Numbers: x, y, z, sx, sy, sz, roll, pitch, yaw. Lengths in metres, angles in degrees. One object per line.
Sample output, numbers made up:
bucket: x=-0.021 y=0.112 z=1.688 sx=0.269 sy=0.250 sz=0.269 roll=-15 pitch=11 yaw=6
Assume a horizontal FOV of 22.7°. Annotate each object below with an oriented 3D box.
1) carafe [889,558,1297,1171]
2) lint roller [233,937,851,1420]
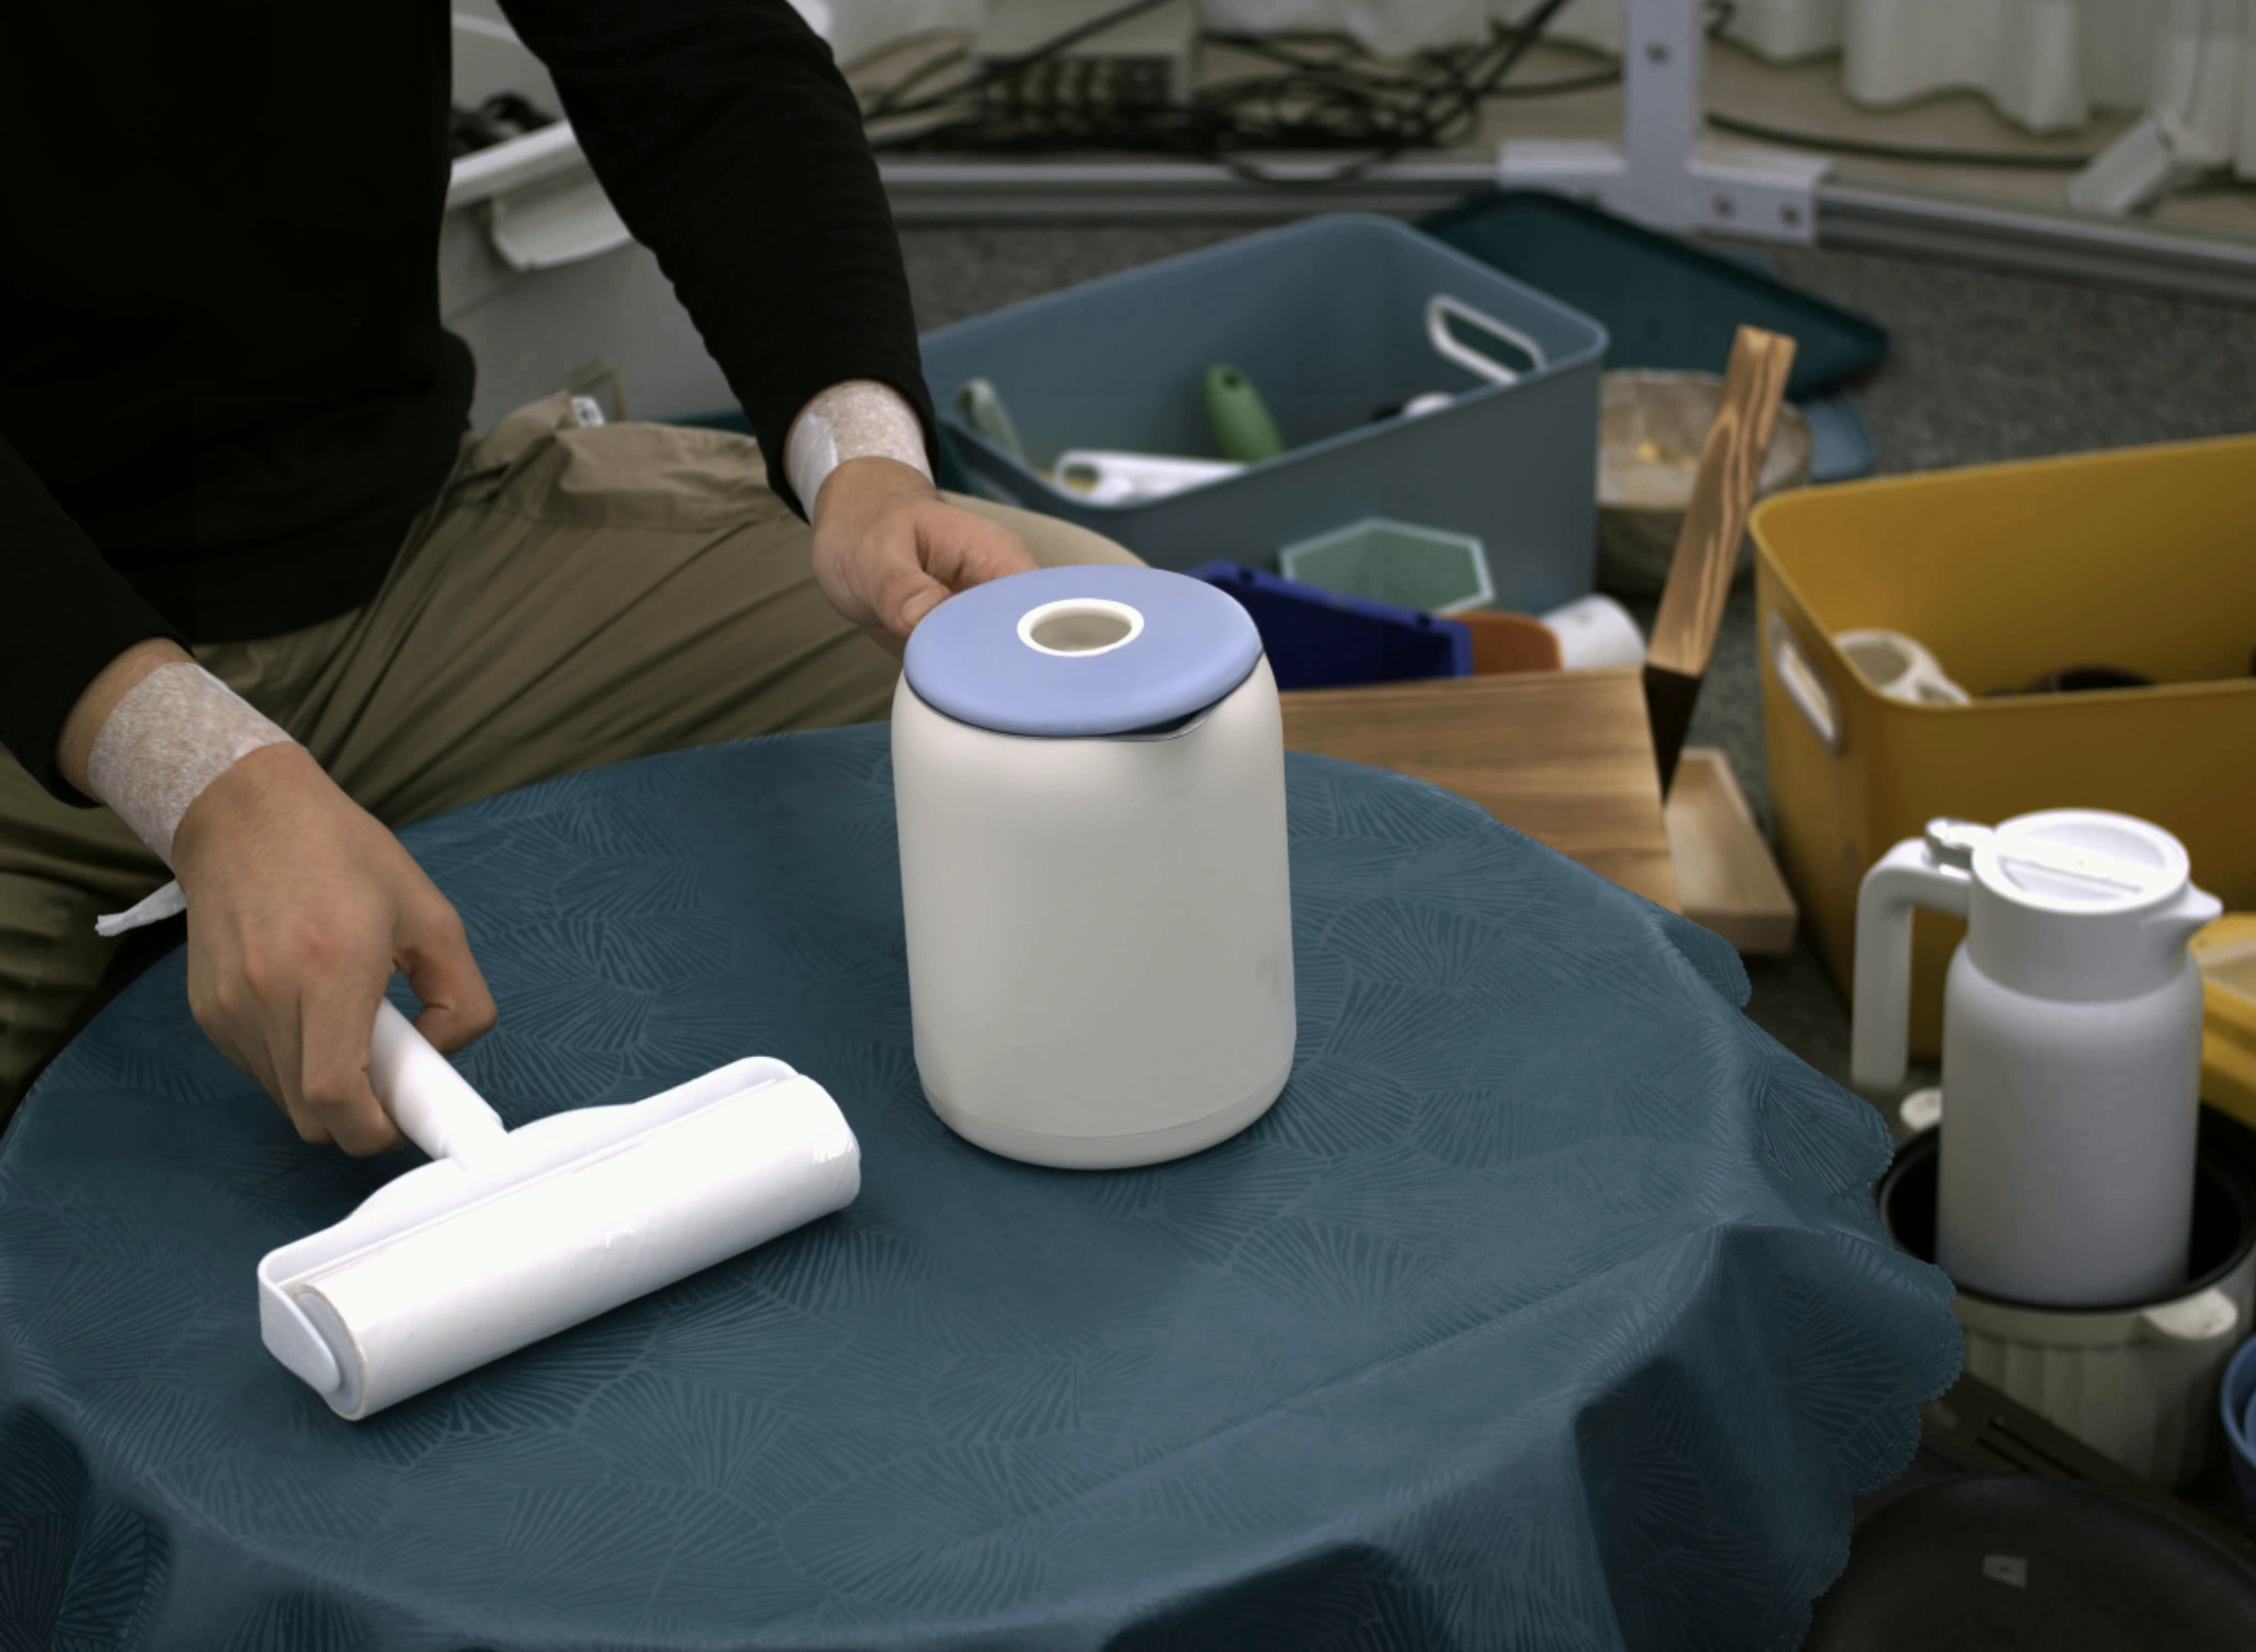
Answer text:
carafe: x=-0.023 y=0.003 z=1.908 sx=0.133 sy=0.181 sz=0.192 roll=-16 pitch=27 yaw=-25
lint roller: x=-0.231 y=0.091 z=1.858 sx=0.205 sy=0.047 sz=0.226 roll=-23 pitch=43 yaw=-32
